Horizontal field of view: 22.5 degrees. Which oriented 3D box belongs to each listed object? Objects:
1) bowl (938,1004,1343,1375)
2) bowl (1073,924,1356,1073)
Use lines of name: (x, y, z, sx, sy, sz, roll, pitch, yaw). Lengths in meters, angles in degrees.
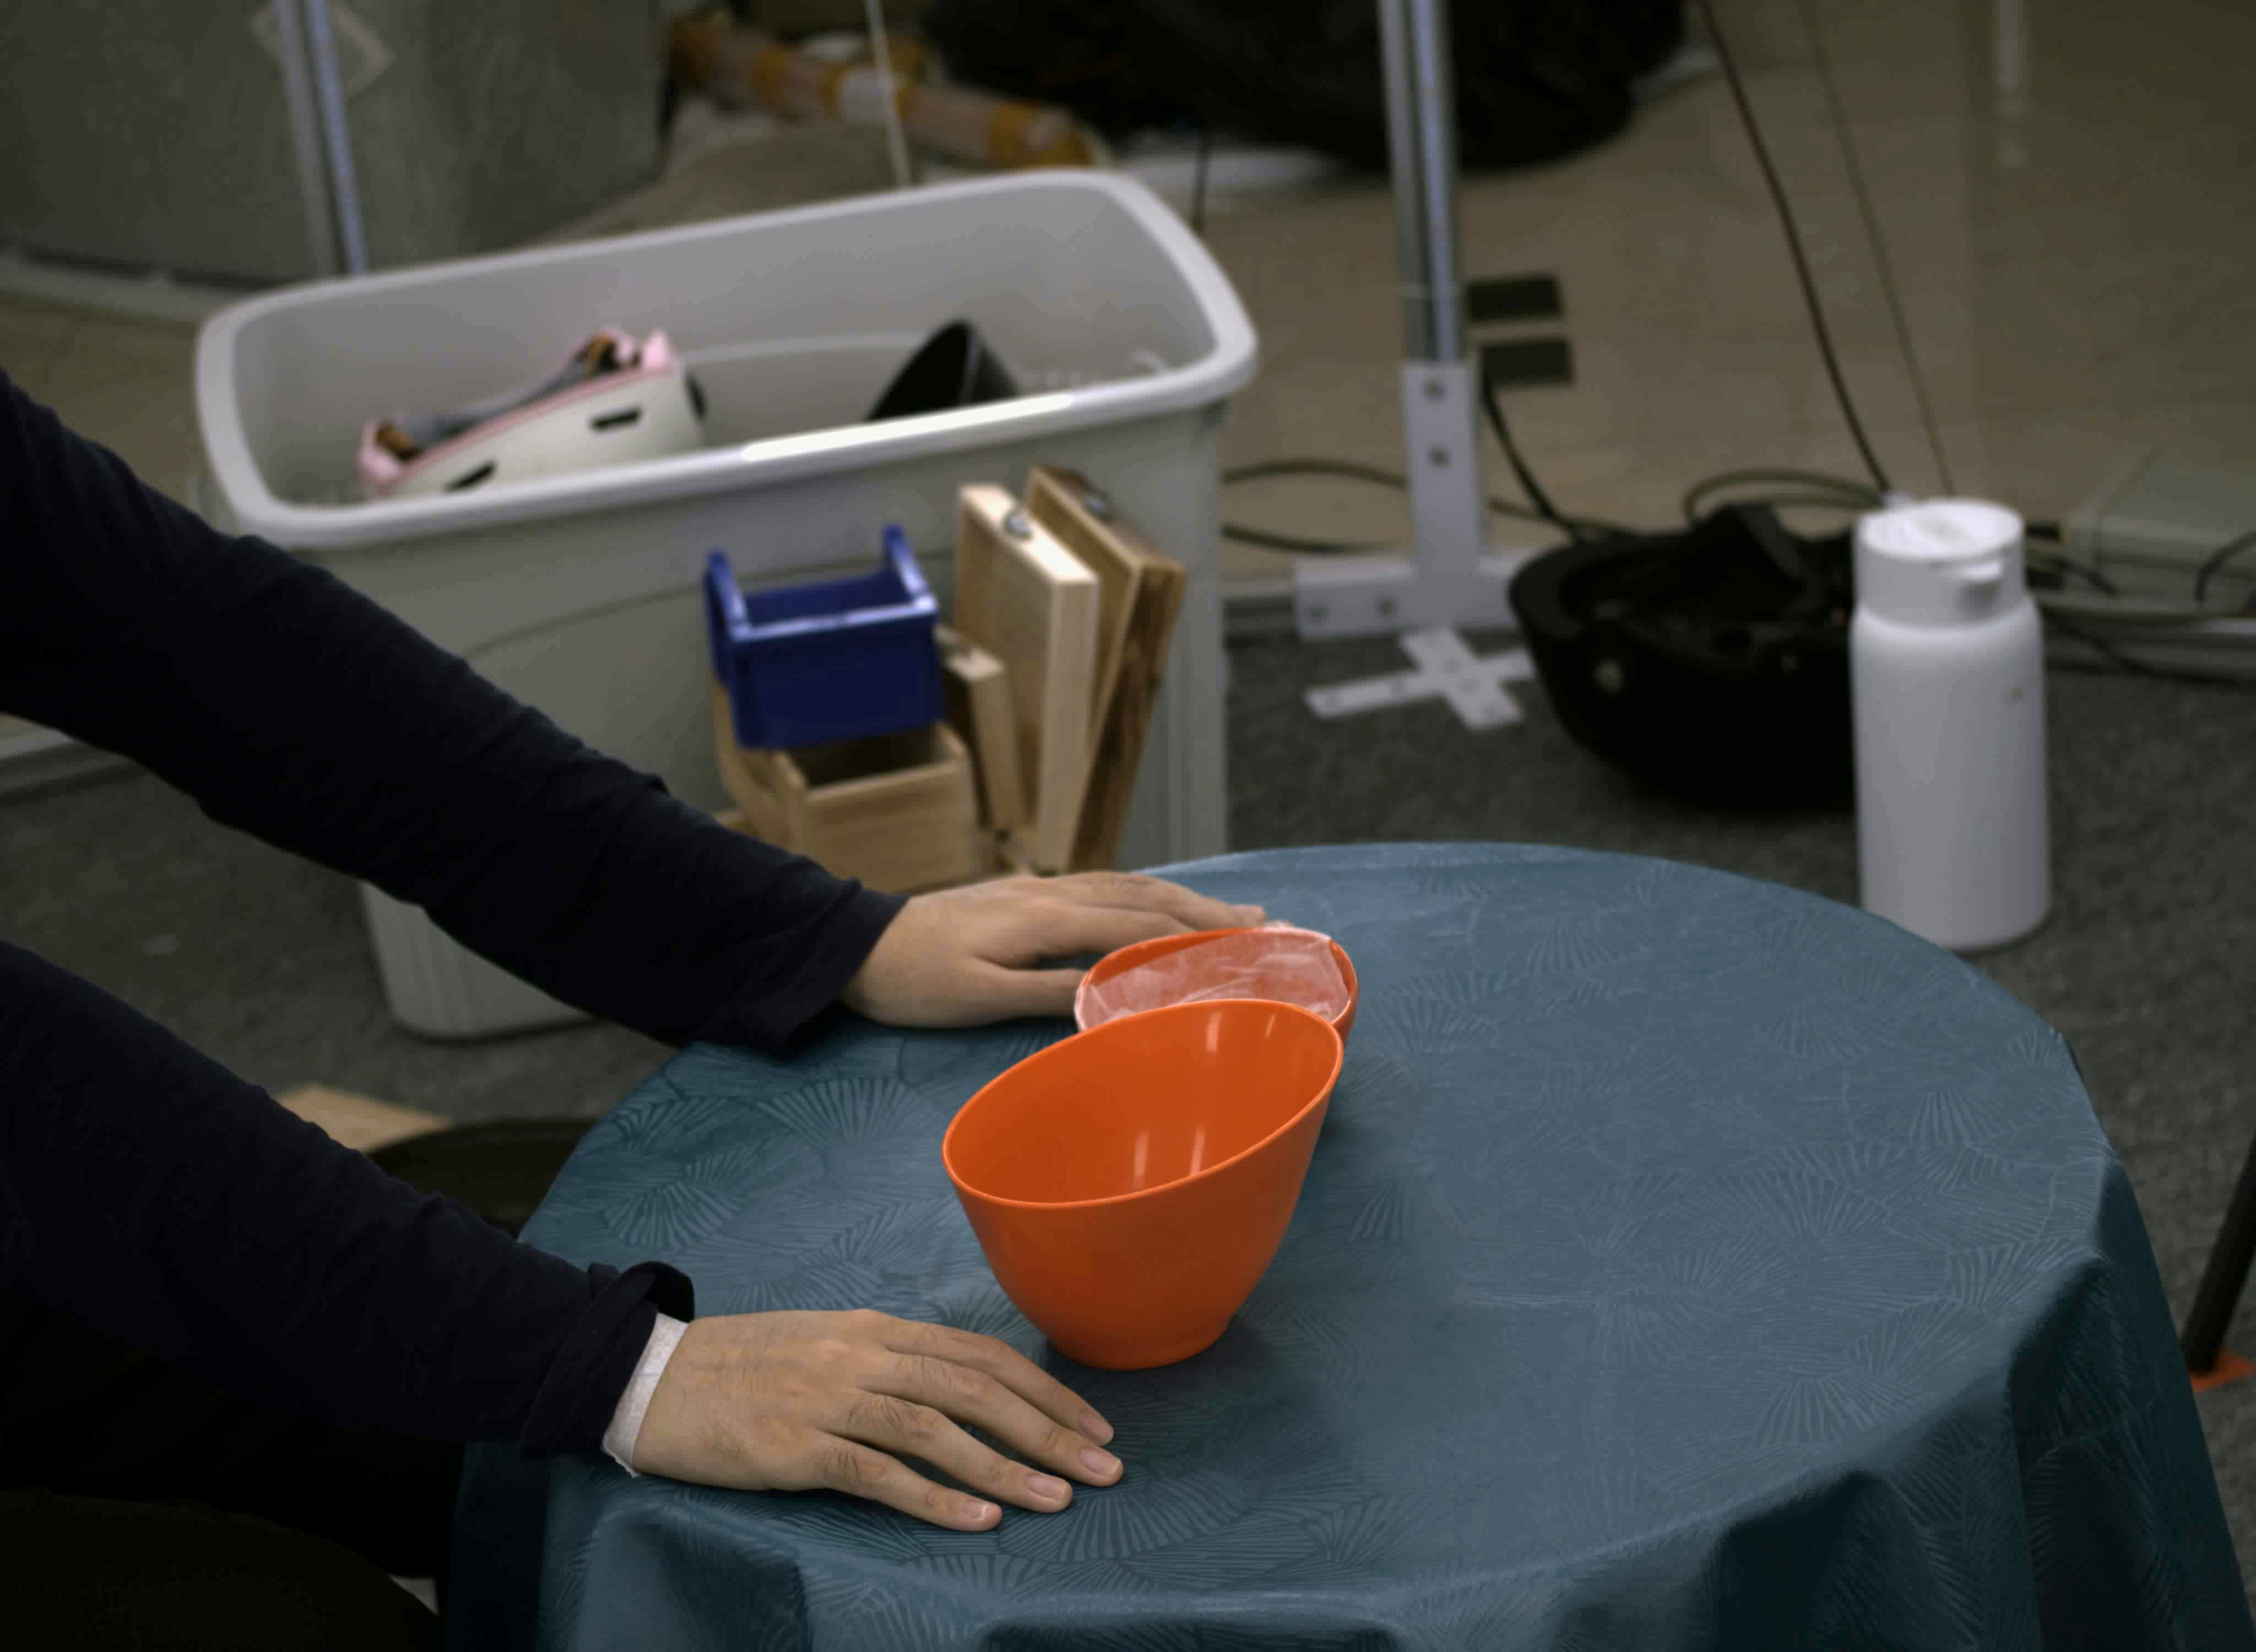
bowl: (0.008, 0.136, 2.034, 0.148, 0.106, 0.146, -5, 26, 3)
bowl: (0.036, 0.085, 2.197, 0.119, 0.052, 0.117, -5, 26, 3)
